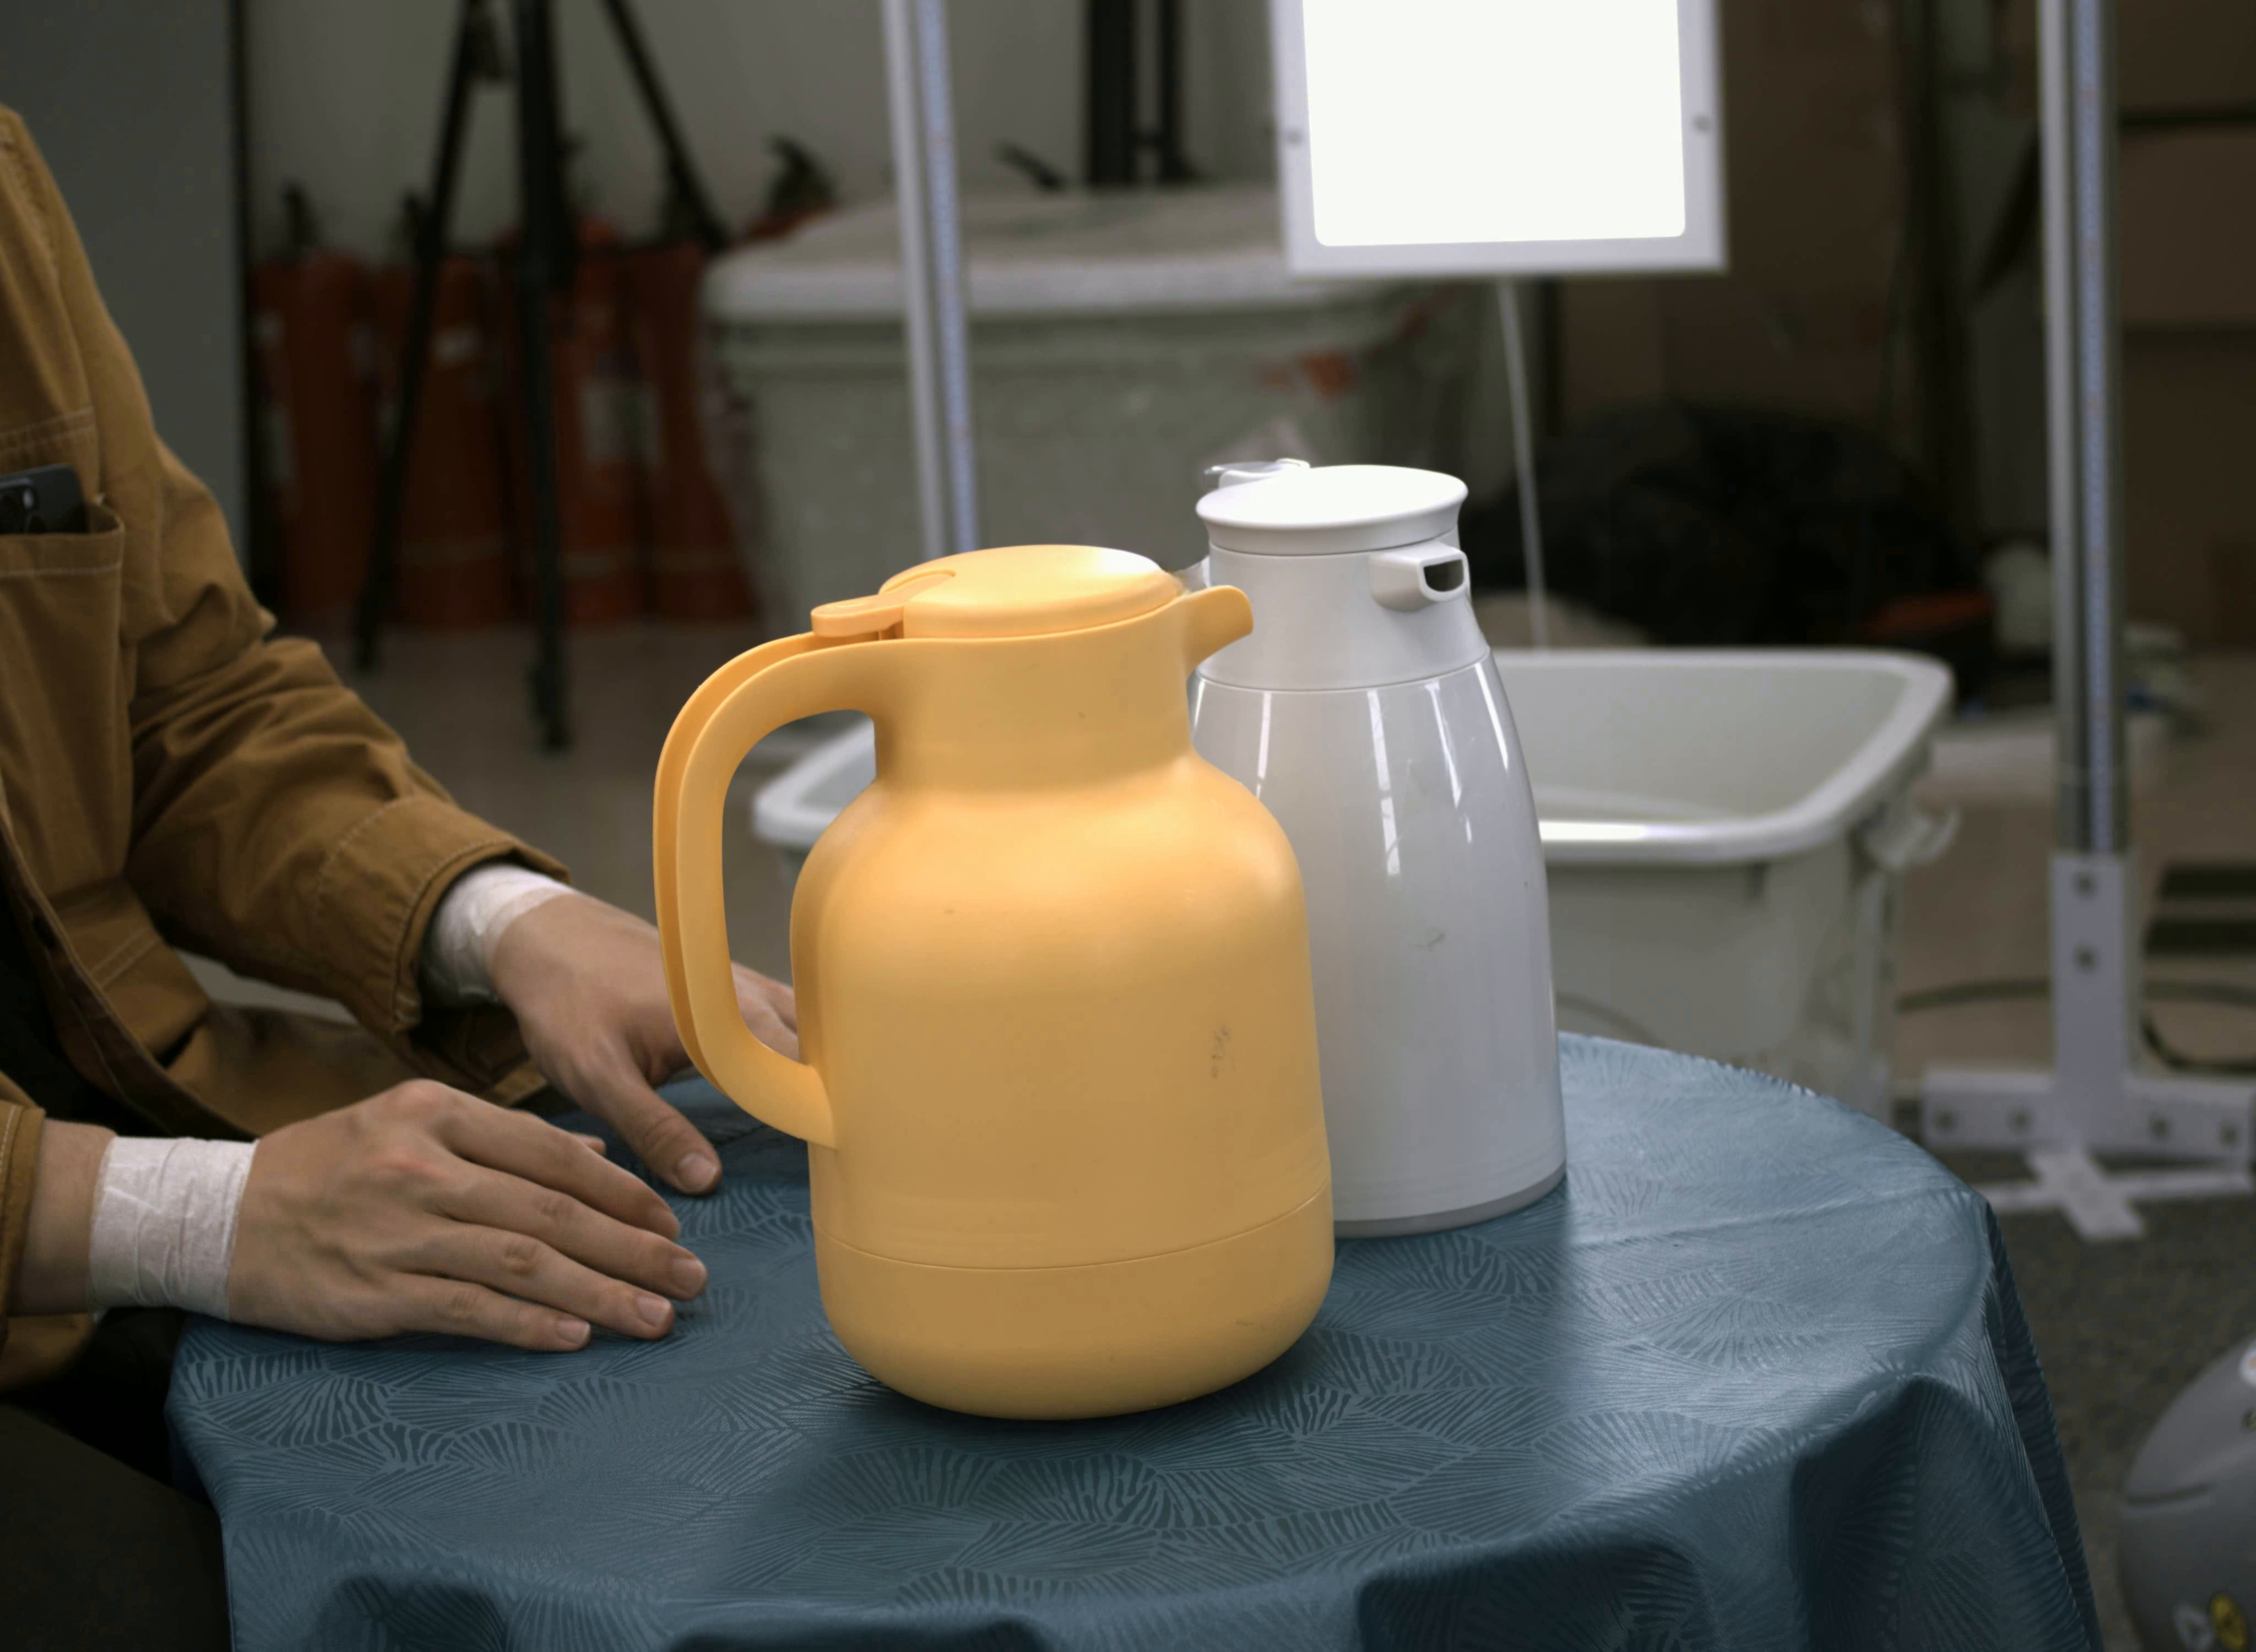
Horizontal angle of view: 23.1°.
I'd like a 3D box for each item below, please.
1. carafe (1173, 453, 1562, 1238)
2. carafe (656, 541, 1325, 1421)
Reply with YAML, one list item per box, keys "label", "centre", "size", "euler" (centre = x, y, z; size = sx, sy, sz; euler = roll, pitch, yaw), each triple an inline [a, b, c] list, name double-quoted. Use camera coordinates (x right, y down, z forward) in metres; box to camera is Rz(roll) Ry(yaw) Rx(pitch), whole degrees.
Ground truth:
- label: "carafe"
  centre: [0.064, -0.001, 1.874]
  size: [0.129, 0.249, 0.171]
  euler: [-13, 16, -31]
- label: "carafe"
  centre: [-0.043, 0.046, 1.698]
  size: [0.199, 0.261, 0.165]
  euler: [-7, 12, -17]
